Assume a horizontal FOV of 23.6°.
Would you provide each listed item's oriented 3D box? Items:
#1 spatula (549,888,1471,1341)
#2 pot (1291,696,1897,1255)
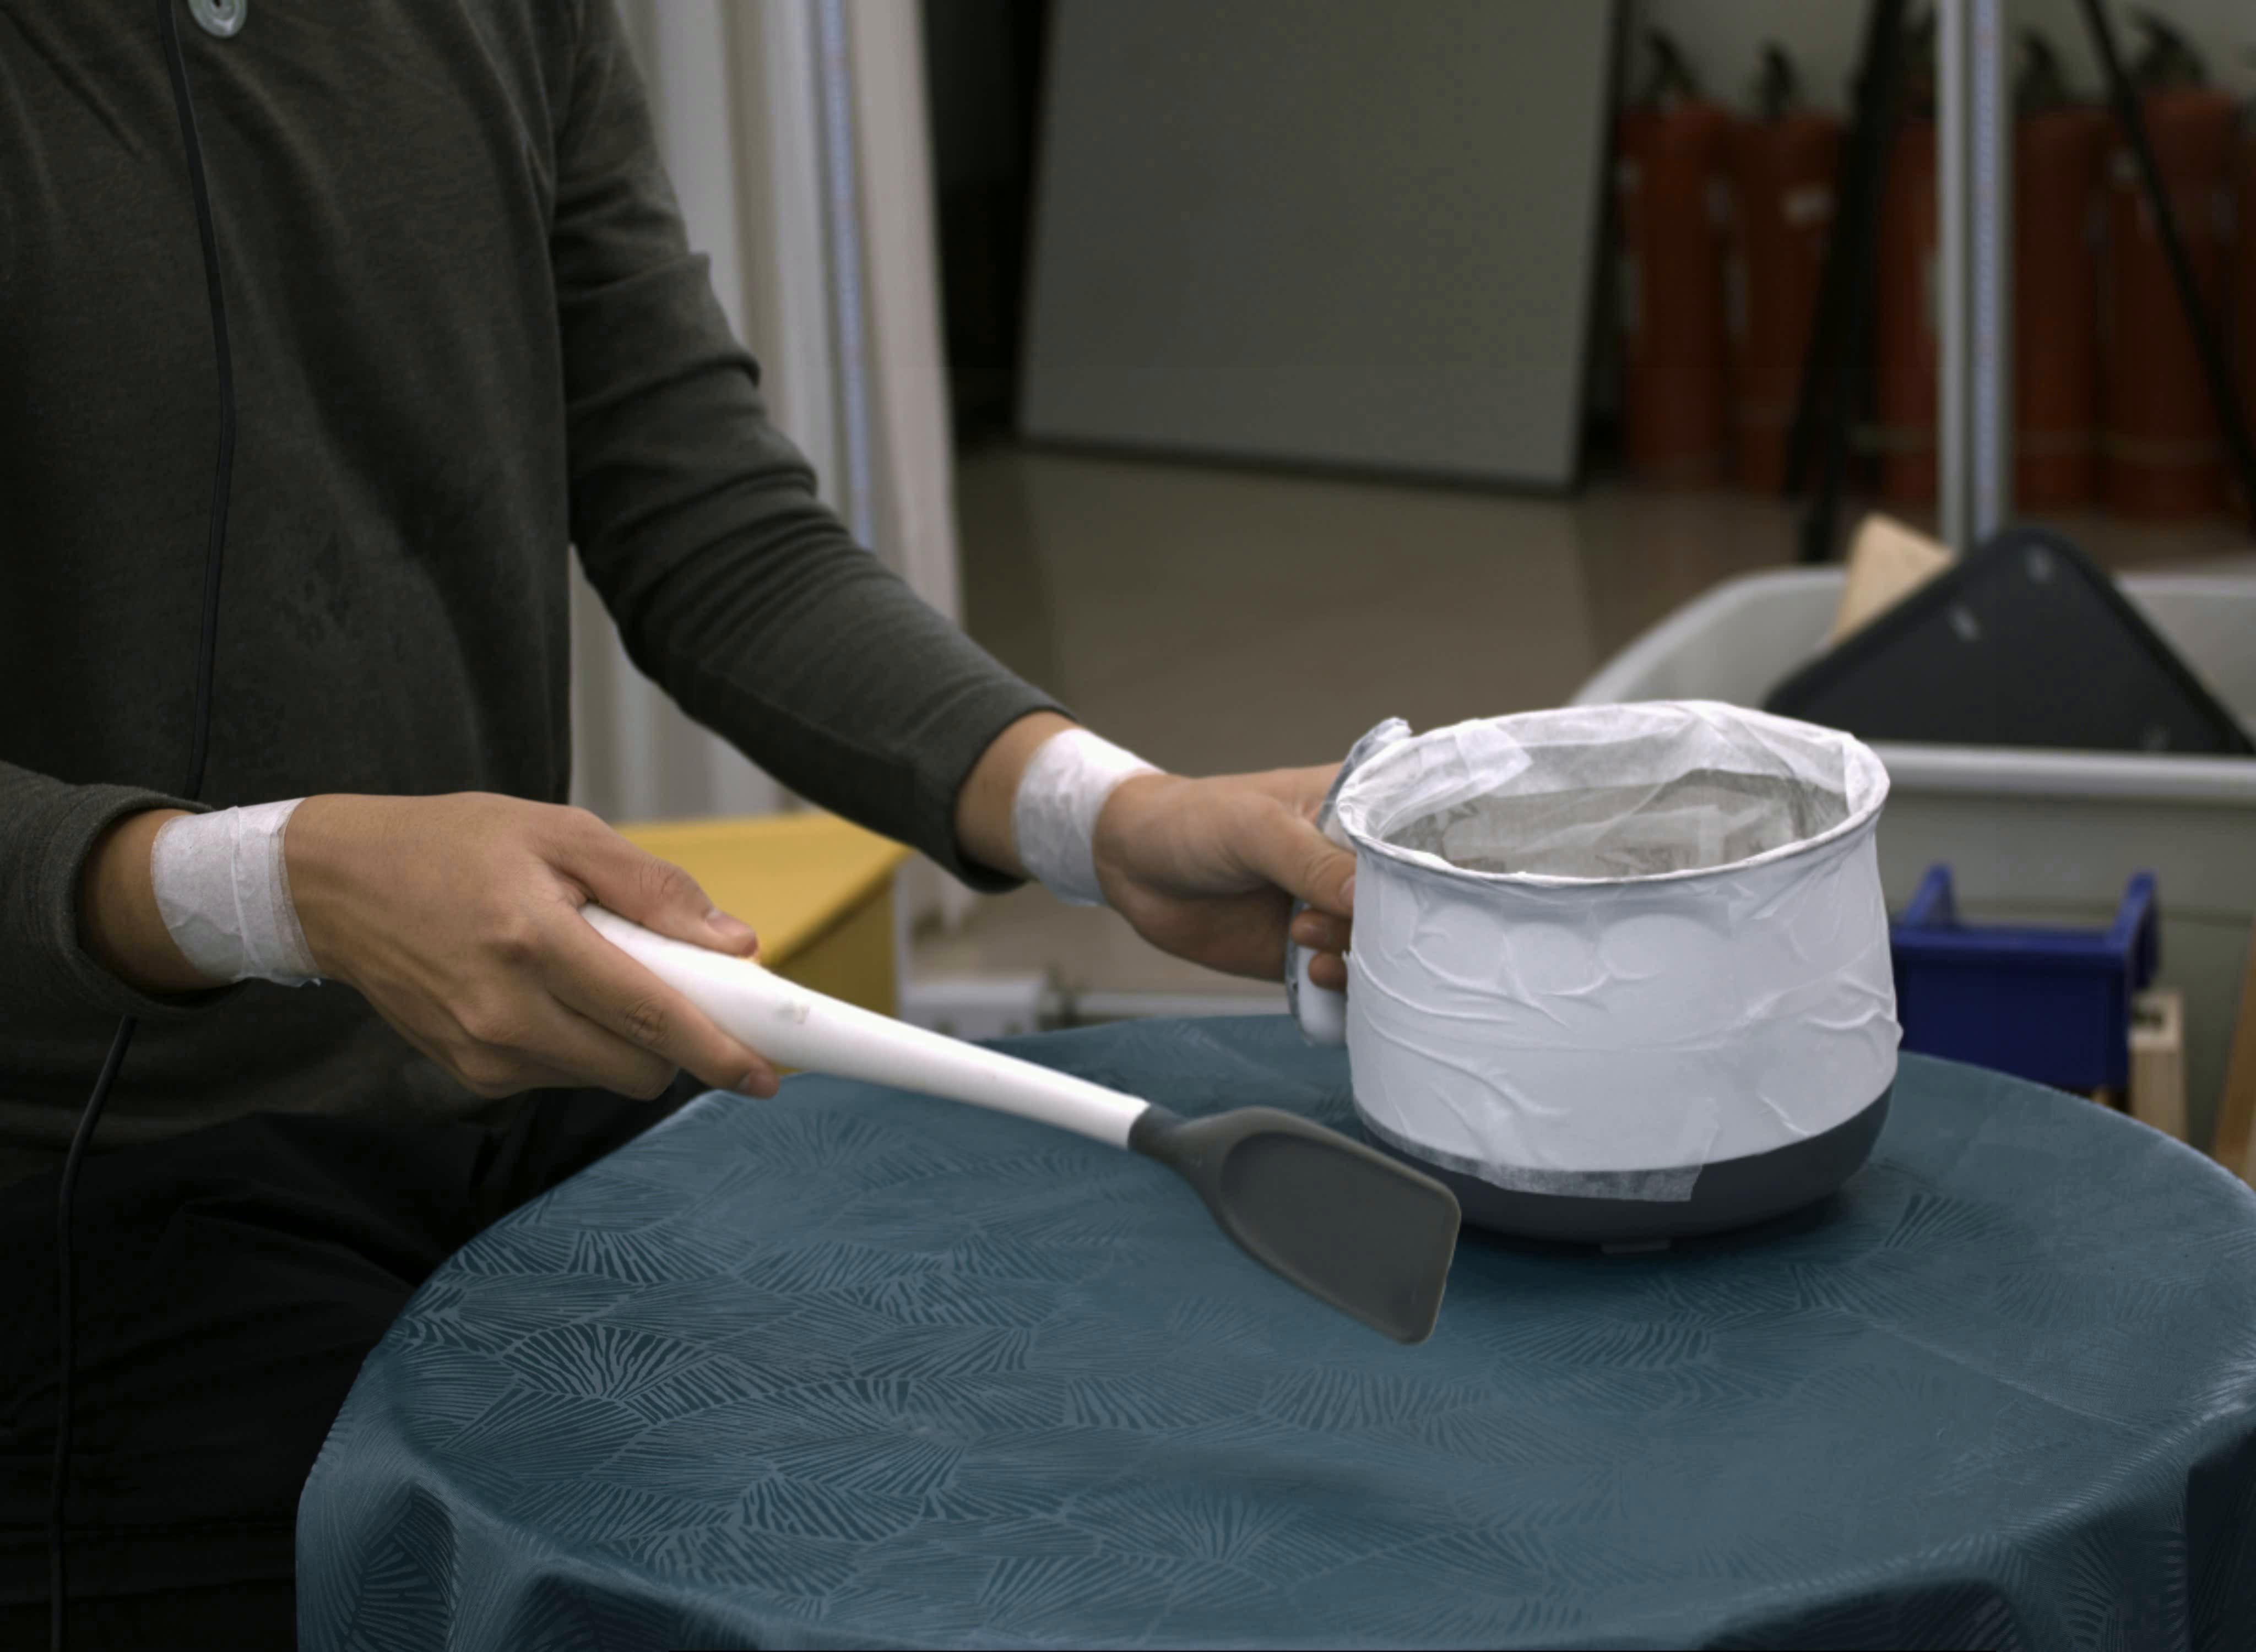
[{"bbox_3d":[-0.033,0.075,1.543,0.287,0.059,0.032,18,22,18],"label":"spatula"},{"bbox_3d":[0.139,0.042,1.743,0.175,0.138,0.236,-19,22,-39],"label":"pot"}]
